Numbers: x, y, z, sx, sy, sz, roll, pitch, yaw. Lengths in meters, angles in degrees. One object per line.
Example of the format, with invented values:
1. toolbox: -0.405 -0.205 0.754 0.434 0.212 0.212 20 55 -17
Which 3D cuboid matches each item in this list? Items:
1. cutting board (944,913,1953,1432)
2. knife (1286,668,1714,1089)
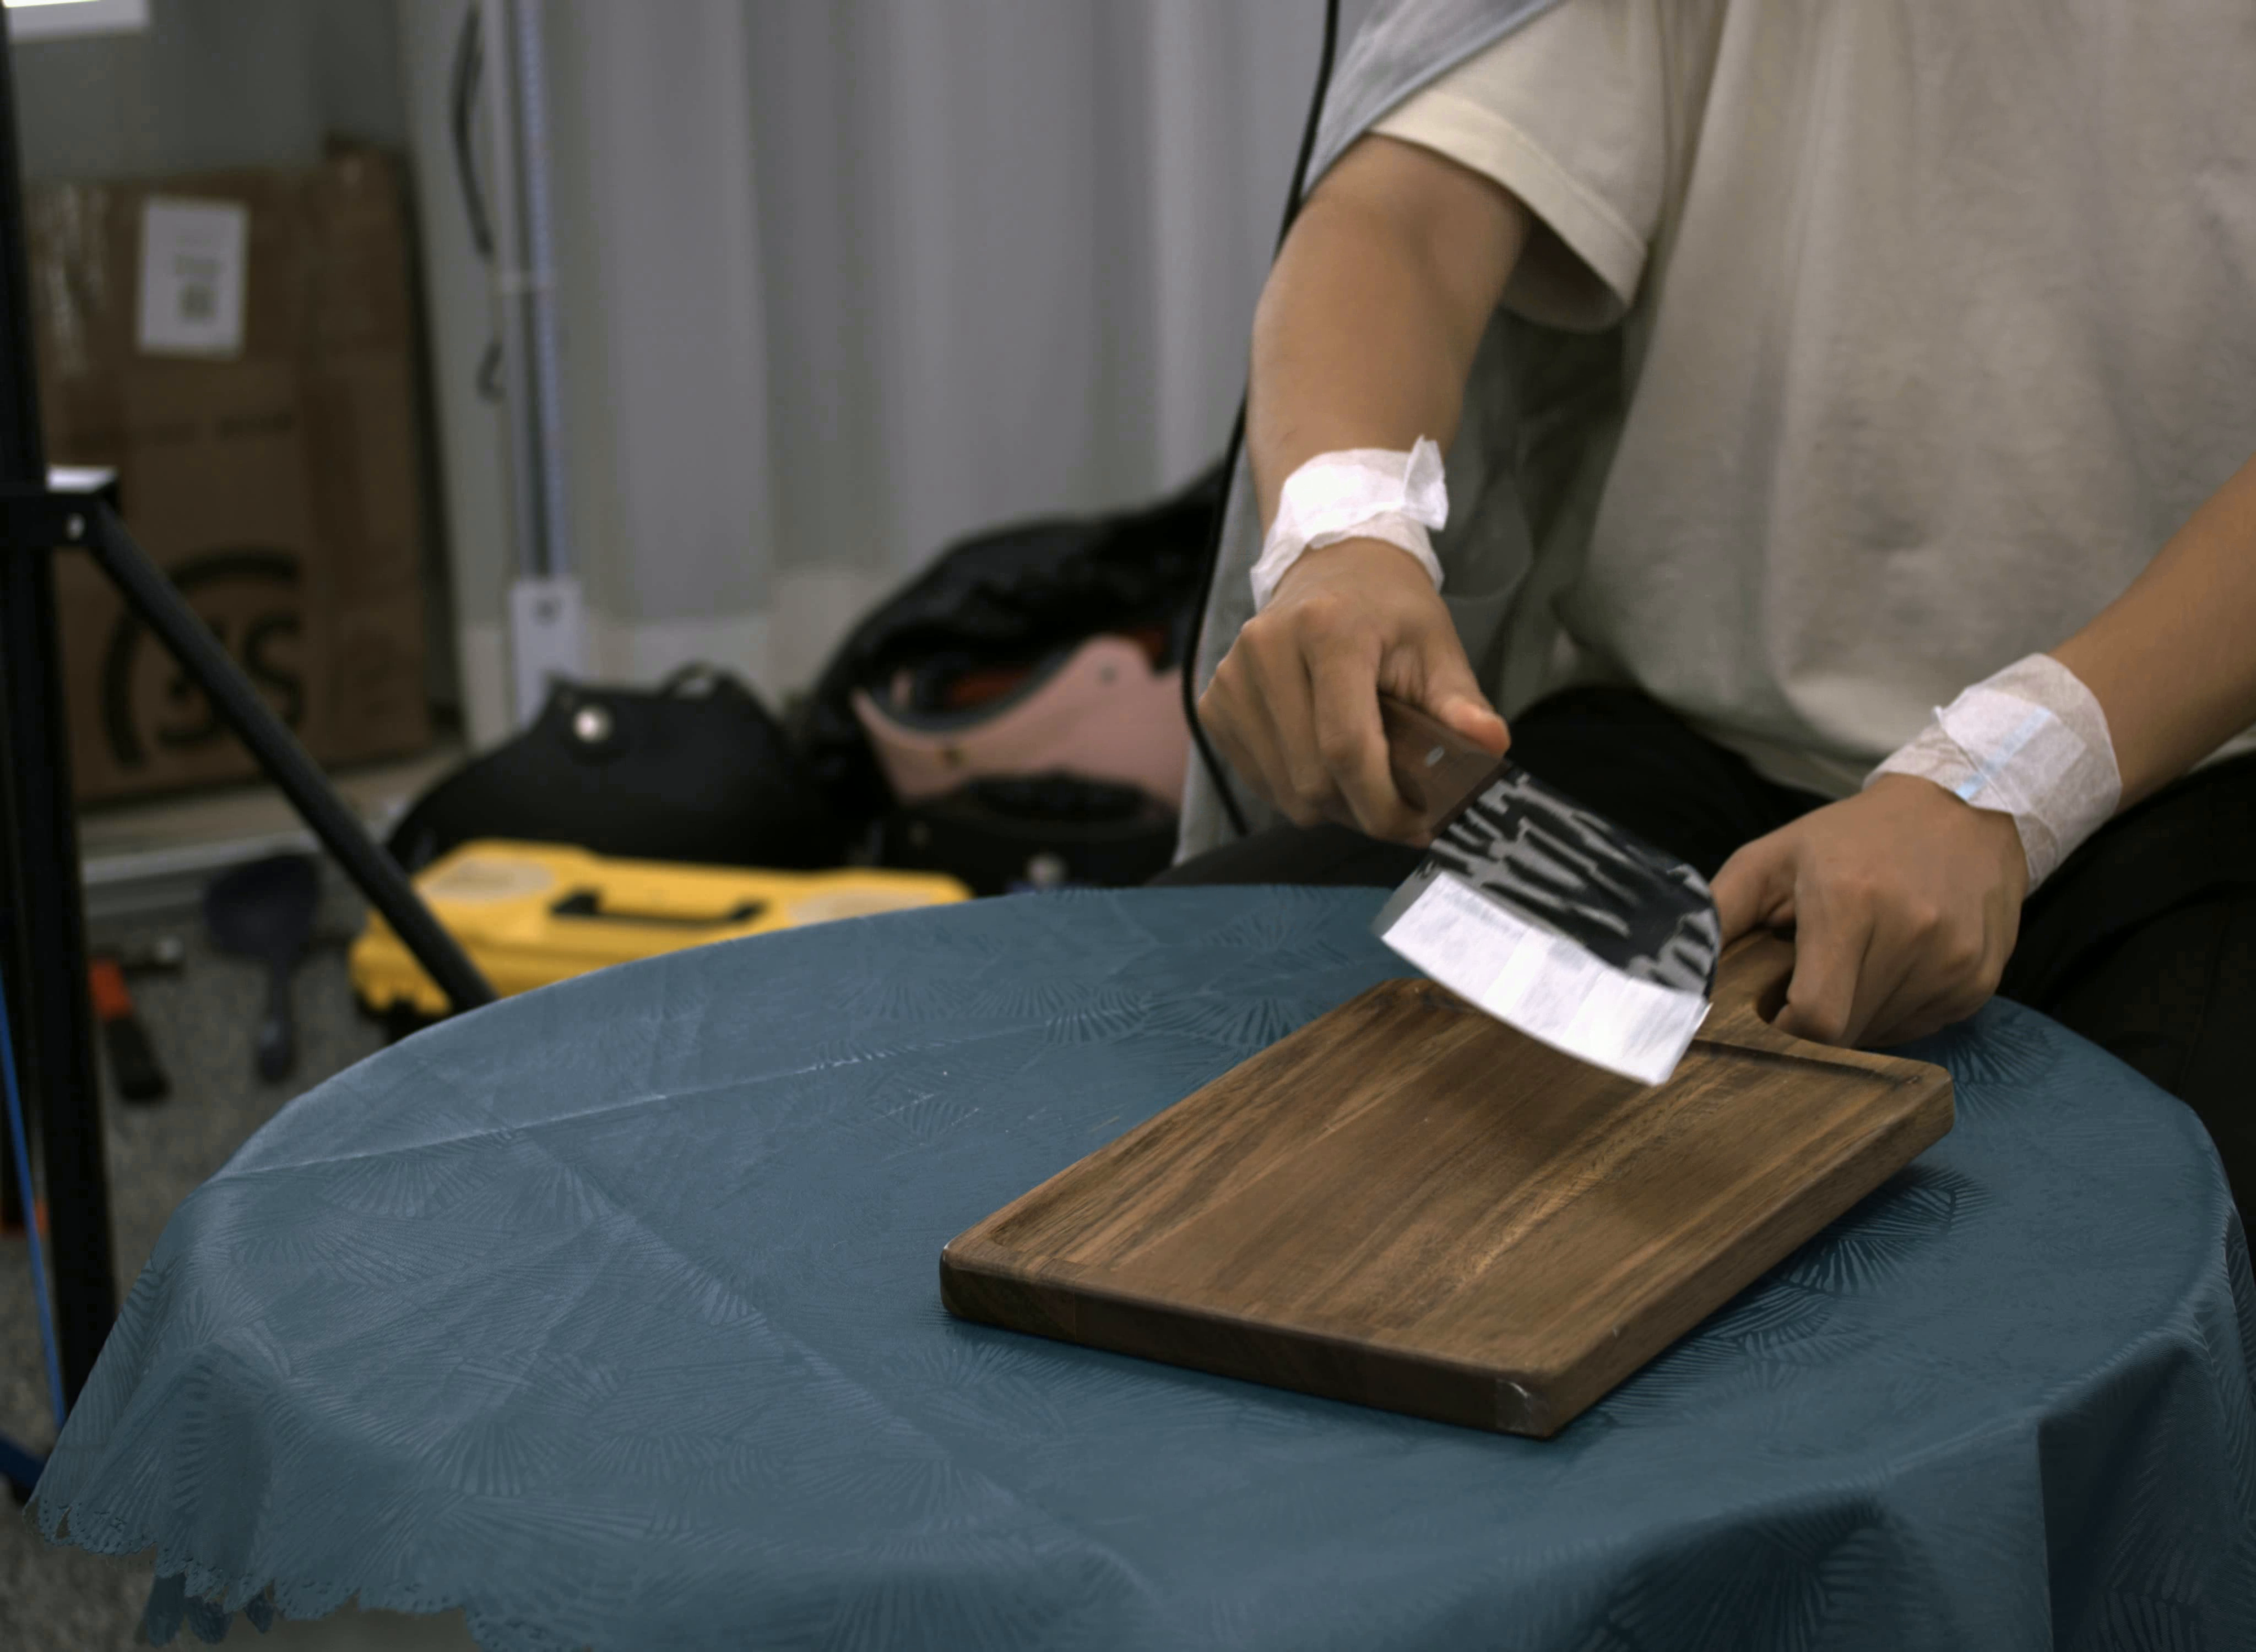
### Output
1. cutting board: 0.122 0.088 1.539 0.205 0.023 0.345 8 21 33
2. knife: 0.103 0.013 1.577 0.068 0.023 0.305 -48 27 -2
